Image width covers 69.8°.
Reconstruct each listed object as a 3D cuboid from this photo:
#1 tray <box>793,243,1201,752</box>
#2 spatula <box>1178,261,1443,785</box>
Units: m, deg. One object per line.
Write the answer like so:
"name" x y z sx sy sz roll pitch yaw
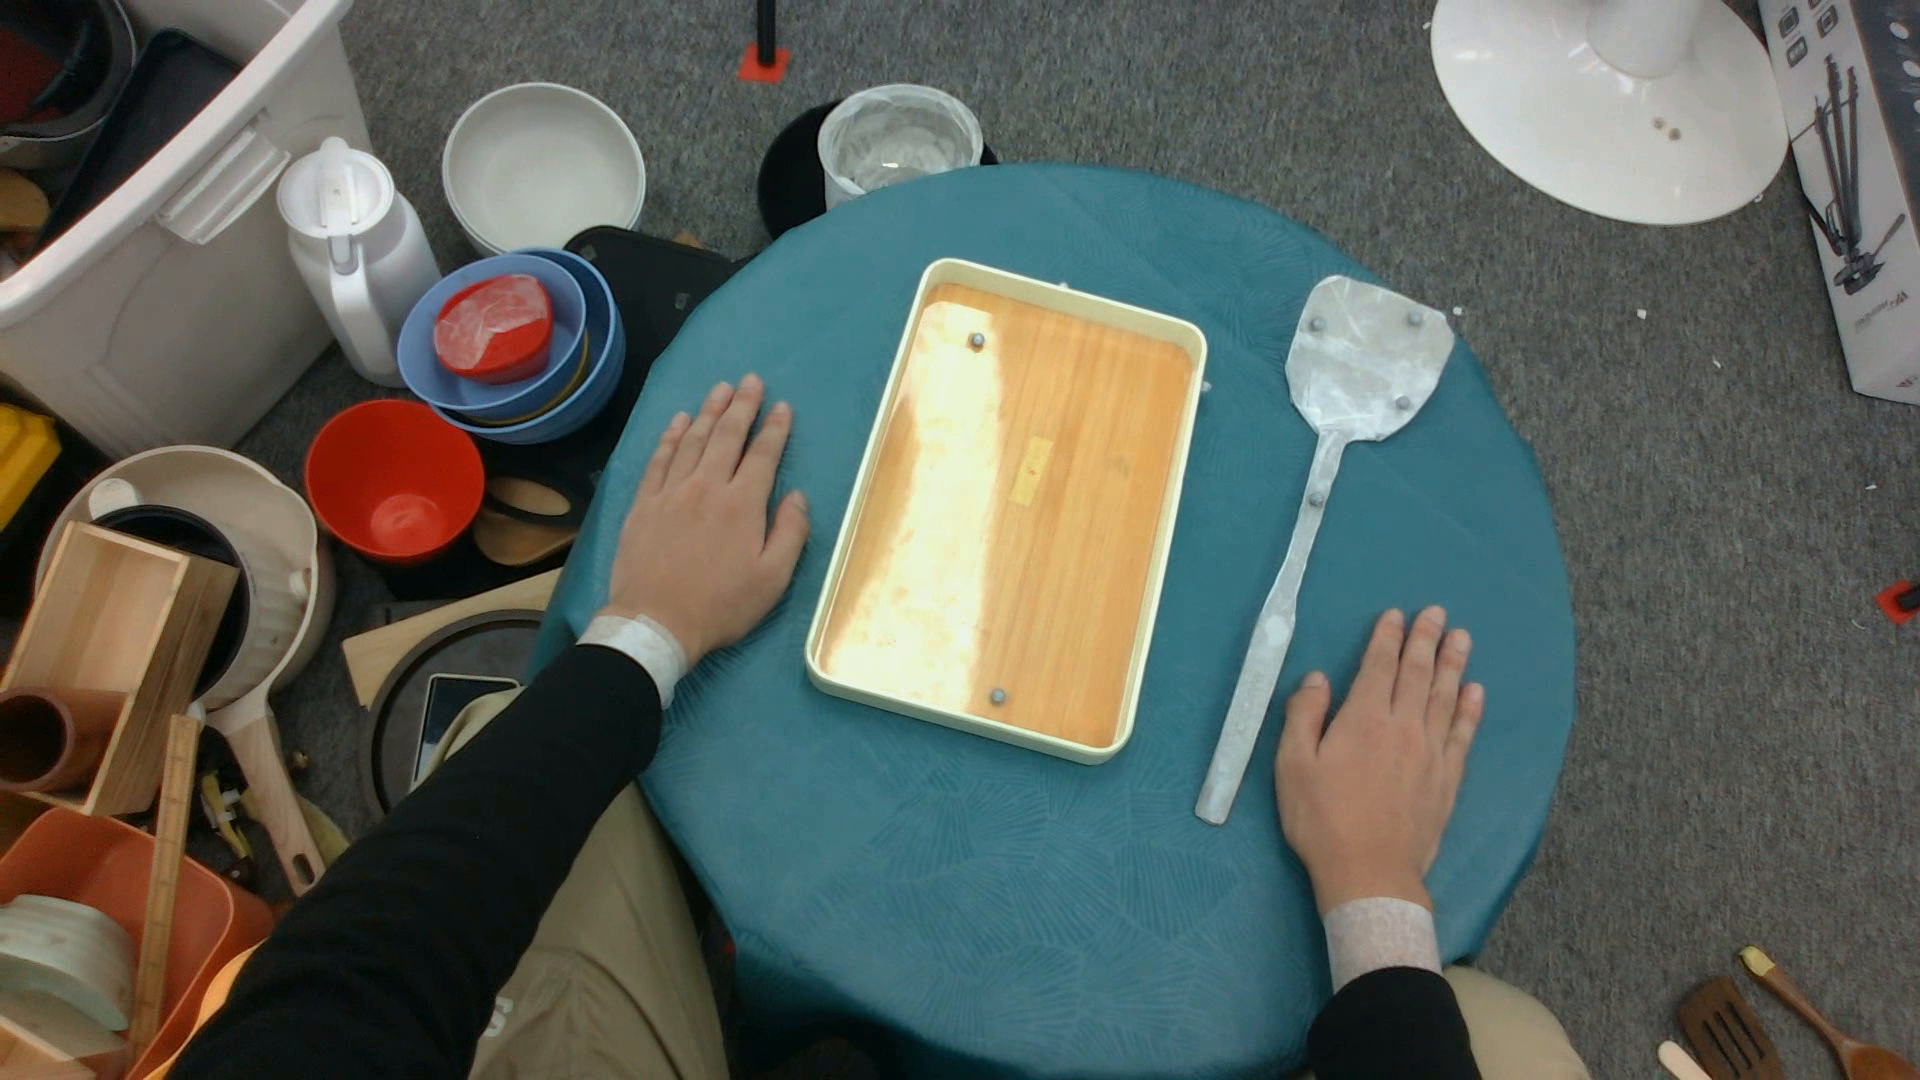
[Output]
"tray" 0.030 -0.035 0.833 0.191 0.027 0.301 16 65 0
"spatula" 0.205 -0.015 0.840 0.098 0.044 0.366 23 65 3
